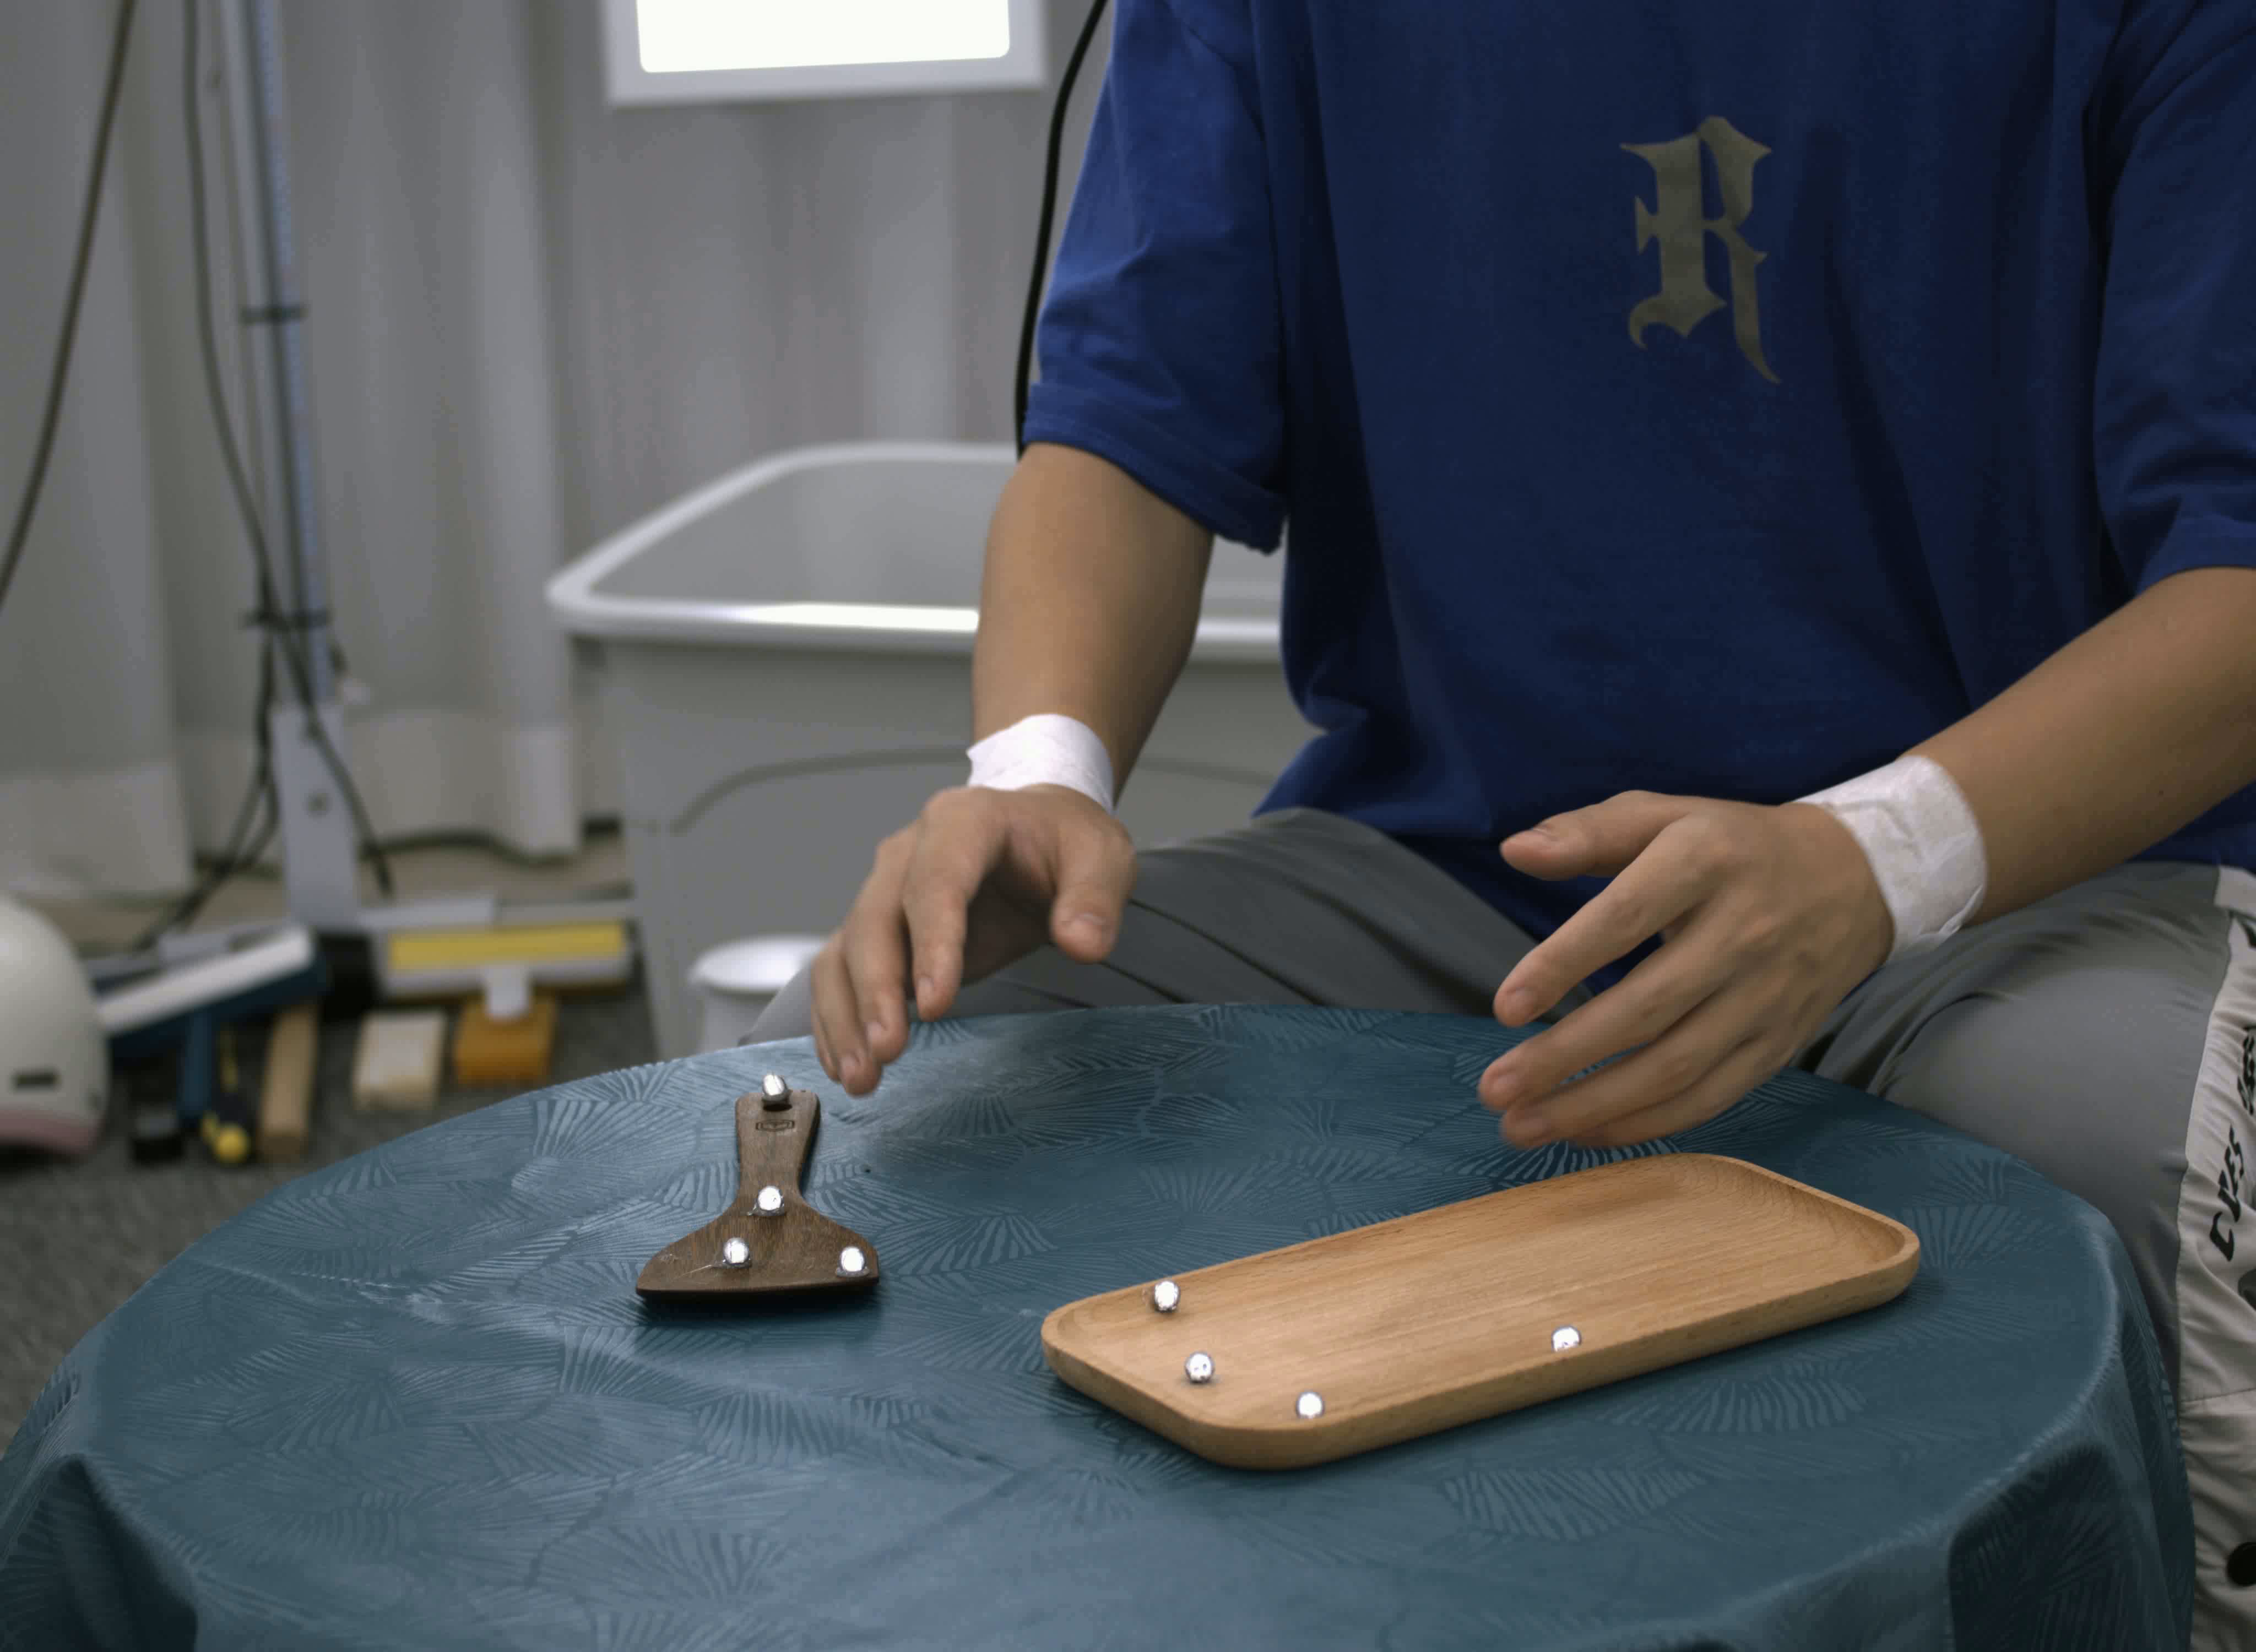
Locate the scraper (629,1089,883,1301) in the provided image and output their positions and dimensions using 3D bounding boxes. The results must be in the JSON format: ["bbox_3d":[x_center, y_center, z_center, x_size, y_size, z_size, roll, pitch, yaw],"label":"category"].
[{"bbox_3d":[-0.113,0.115,1.713,0.075,0.011,0.212,-2,14,-1],"label":"scraper"}]

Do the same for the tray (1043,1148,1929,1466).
[{"bbox_3d":[0.104,0.137,1.573,0.249,0.023,0.131,-11,19,-29],"label":"tray"}]
